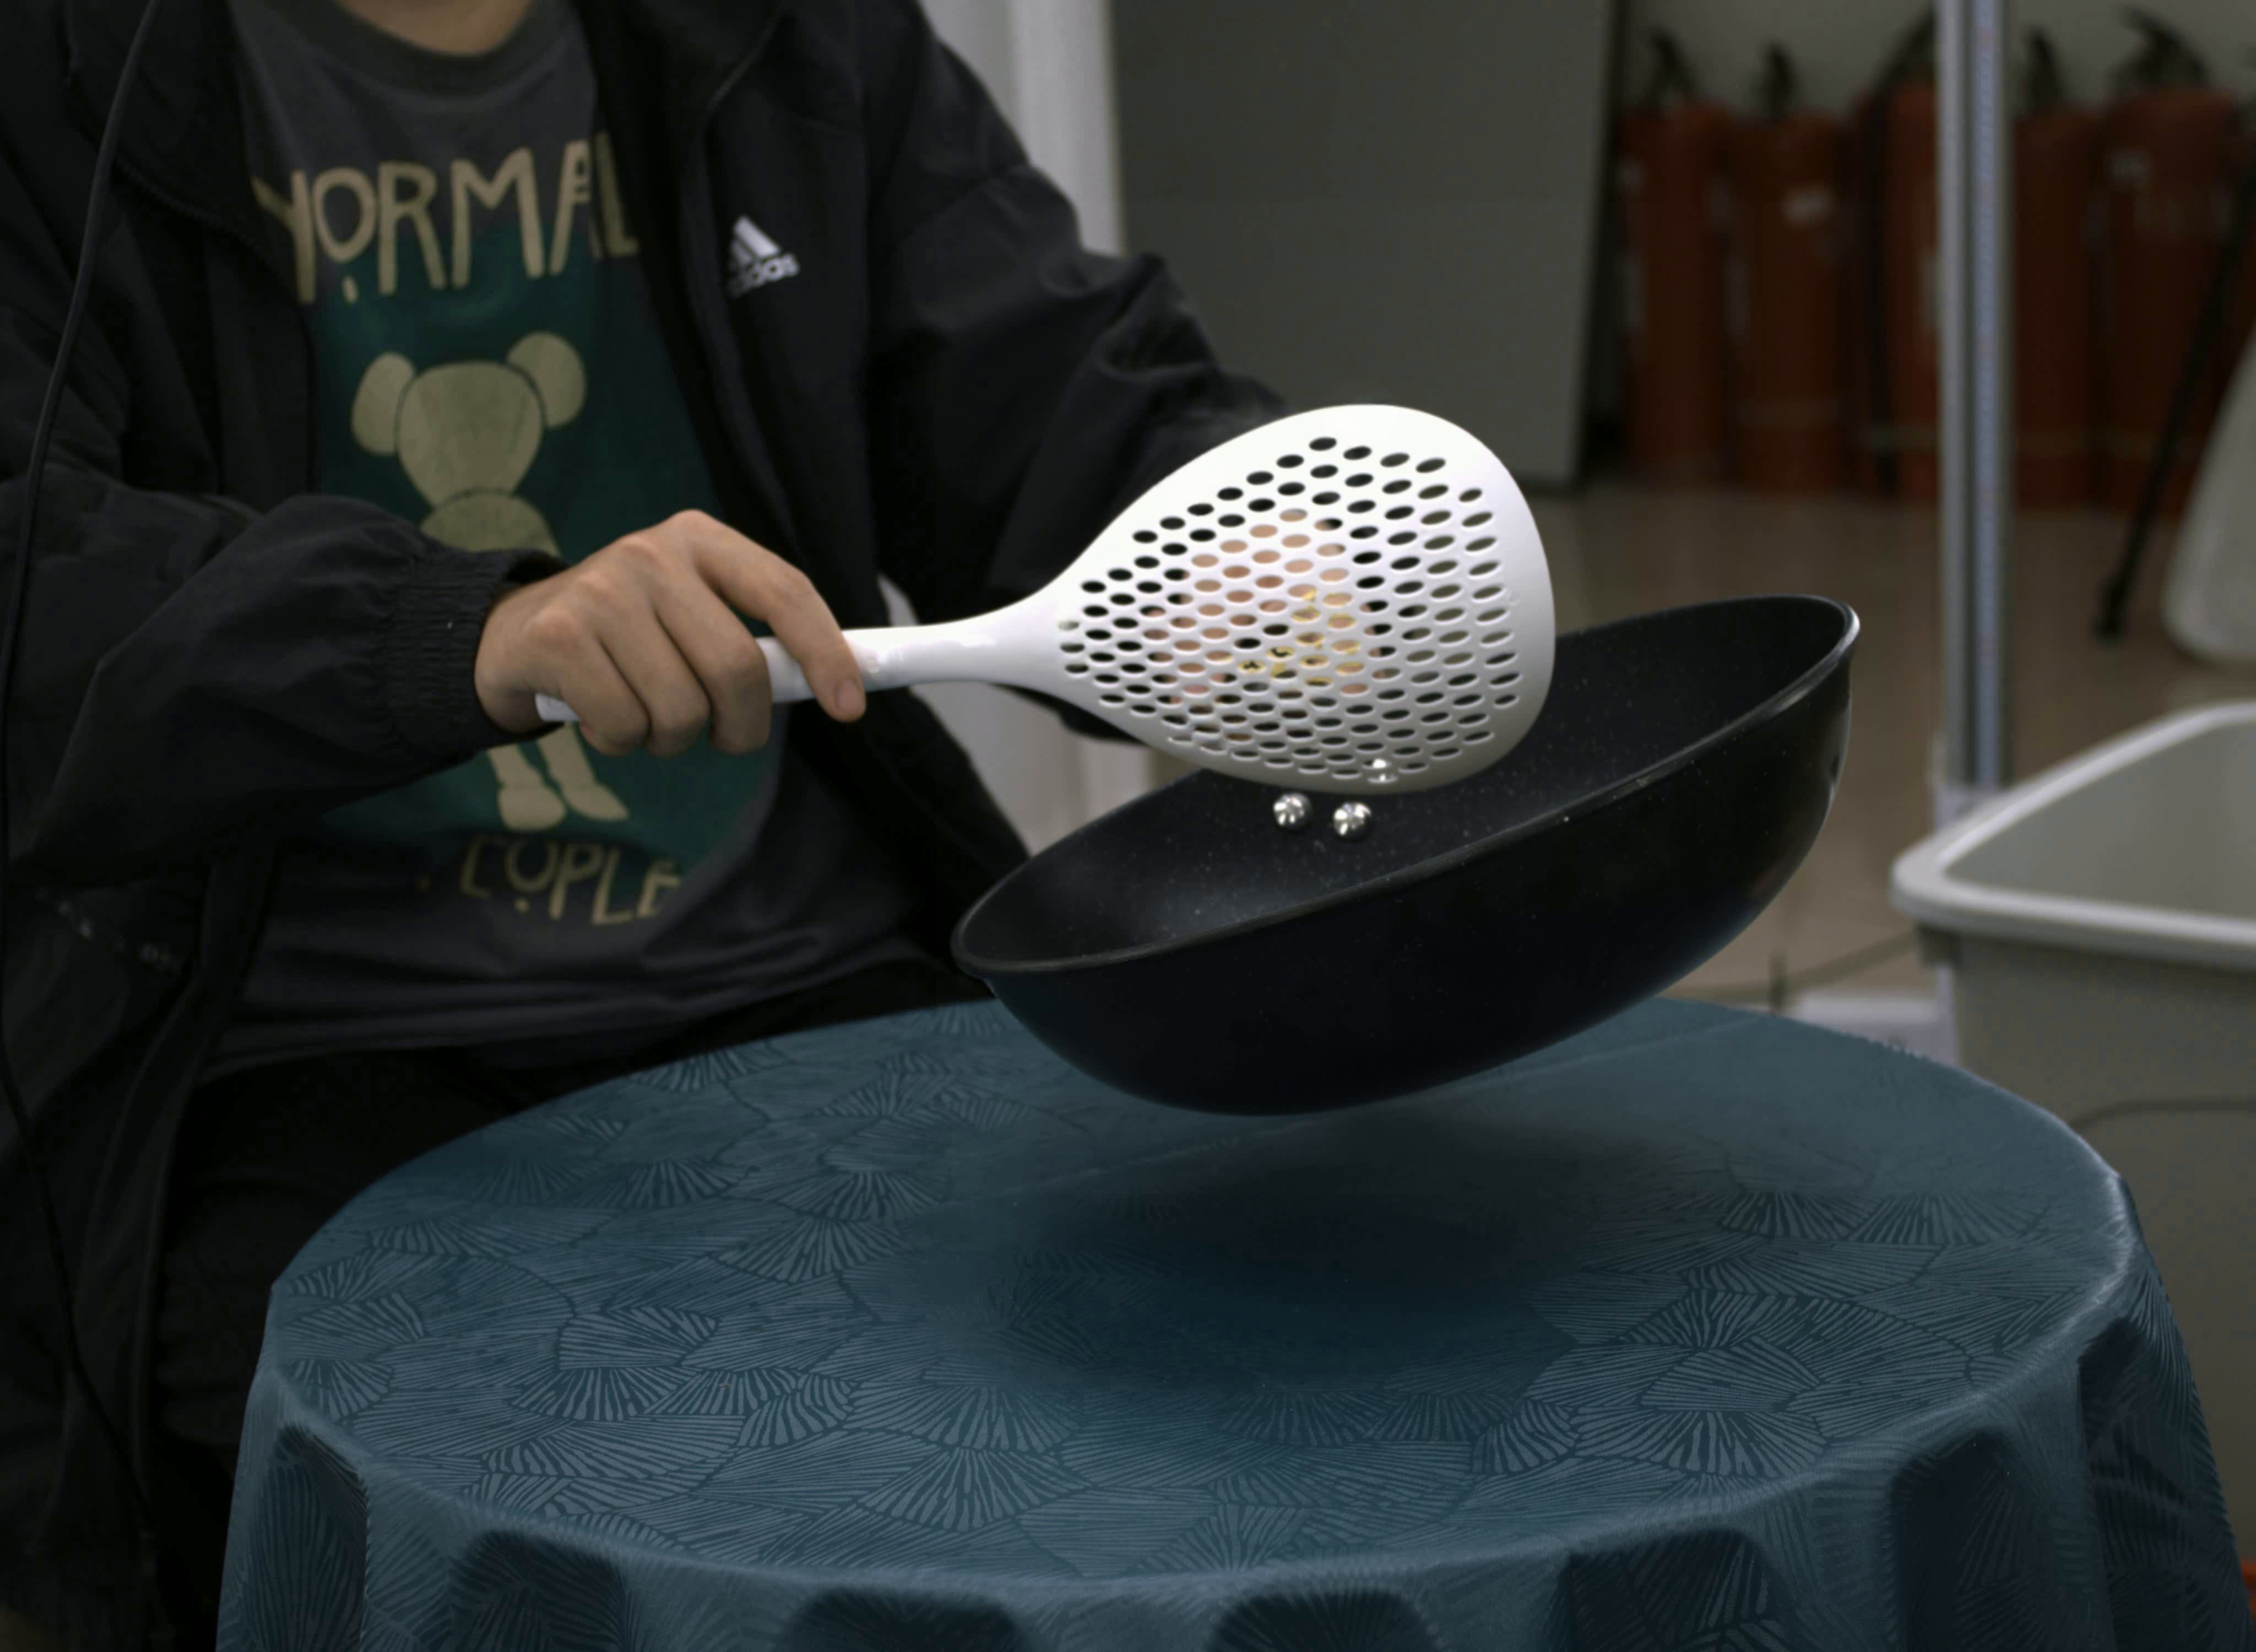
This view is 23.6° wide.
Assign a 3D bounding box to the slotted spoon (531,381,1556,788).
[{"bbox_3d":[-0.030,-0.061,1.788,0.347,0.138,0.050,-6,18,19],"label":"slotted spoon"}]

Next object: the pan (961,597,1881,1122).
[{"bbox_3d":[0.087,0.001,1.791,0.306,0.112,0.479,-21,9,-6],"label":"pan"}]
